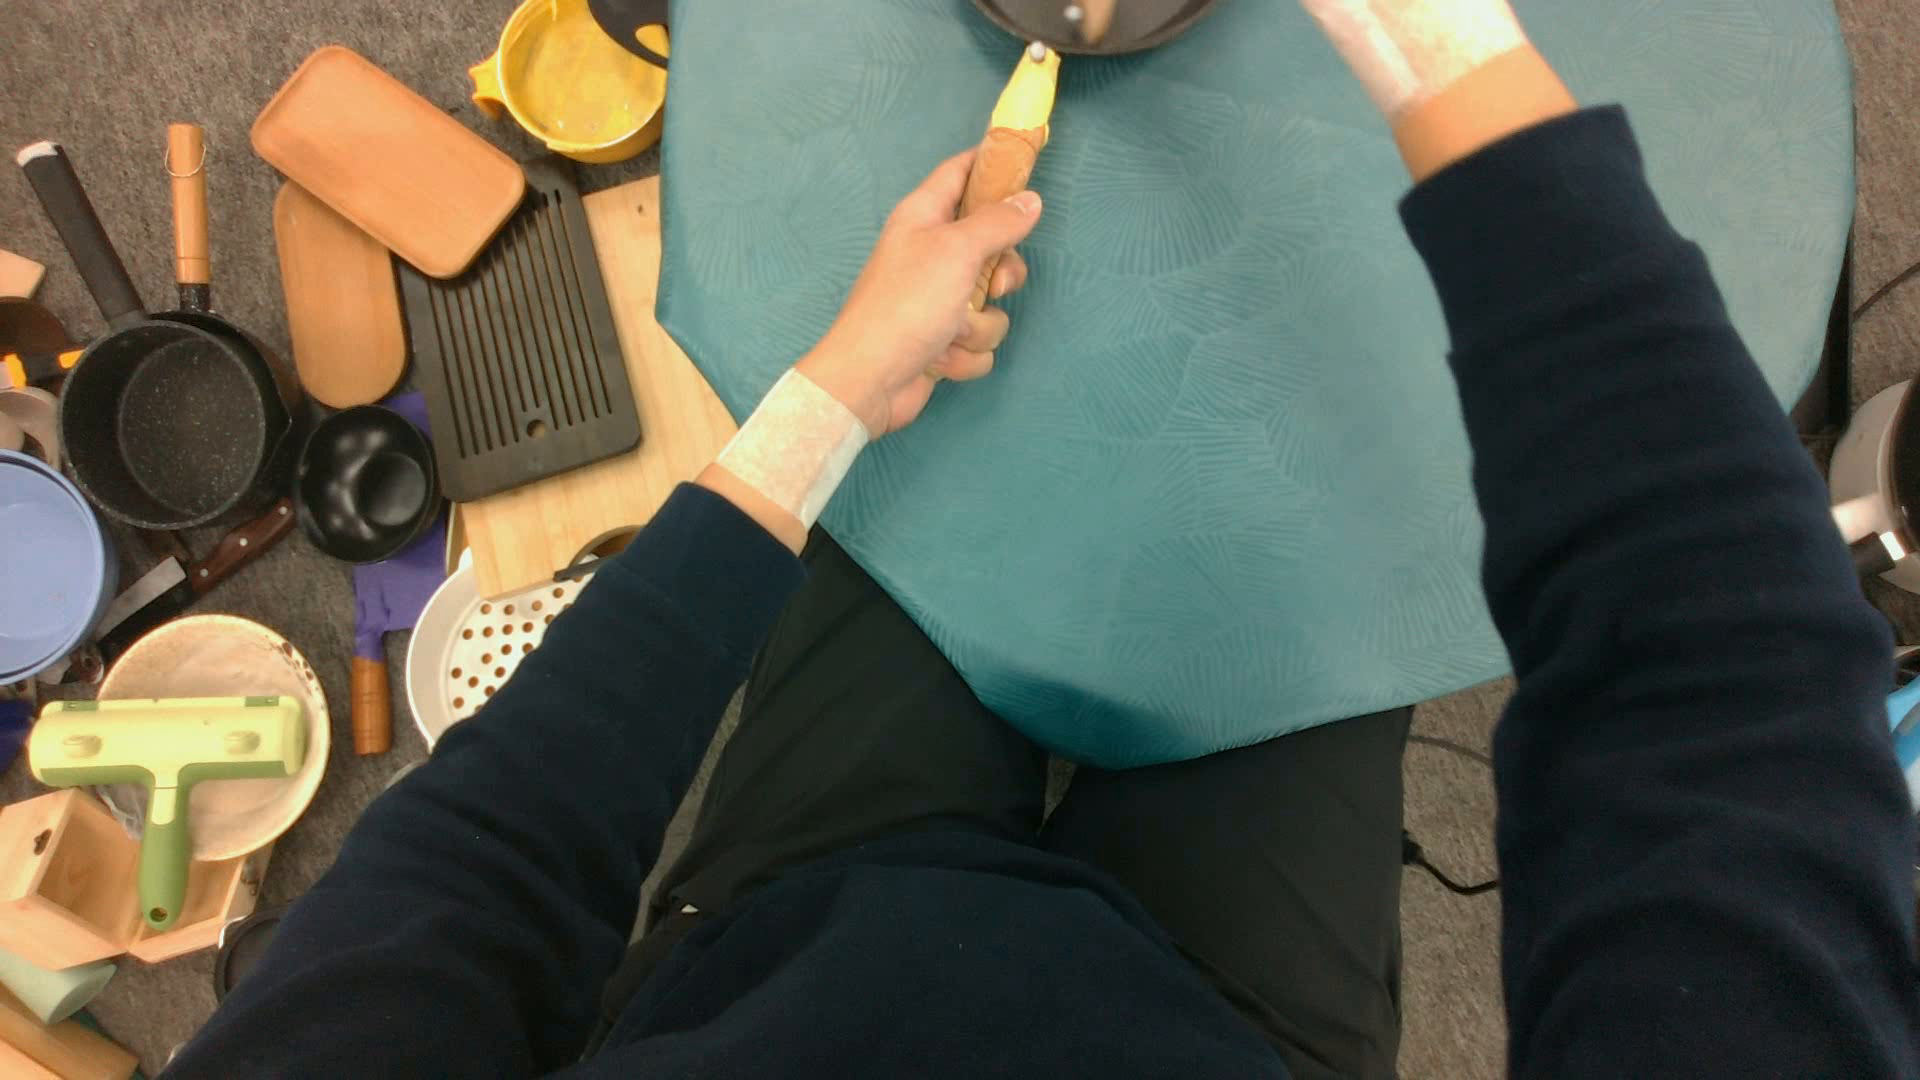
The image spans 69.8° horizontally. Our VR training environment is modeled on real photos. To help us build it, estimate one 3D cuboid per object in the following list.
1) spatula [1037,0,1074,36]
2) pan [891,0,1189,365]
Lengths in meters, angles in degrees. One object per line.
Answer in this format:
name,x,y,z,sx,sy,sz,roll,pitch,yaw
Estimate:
spatula,0.039,-0.274,0.535,0.016,0.328,0.080,-15,94,2
pan,0.024,-0.232,0.662,0.169,0.049,0.324,19,80,1
